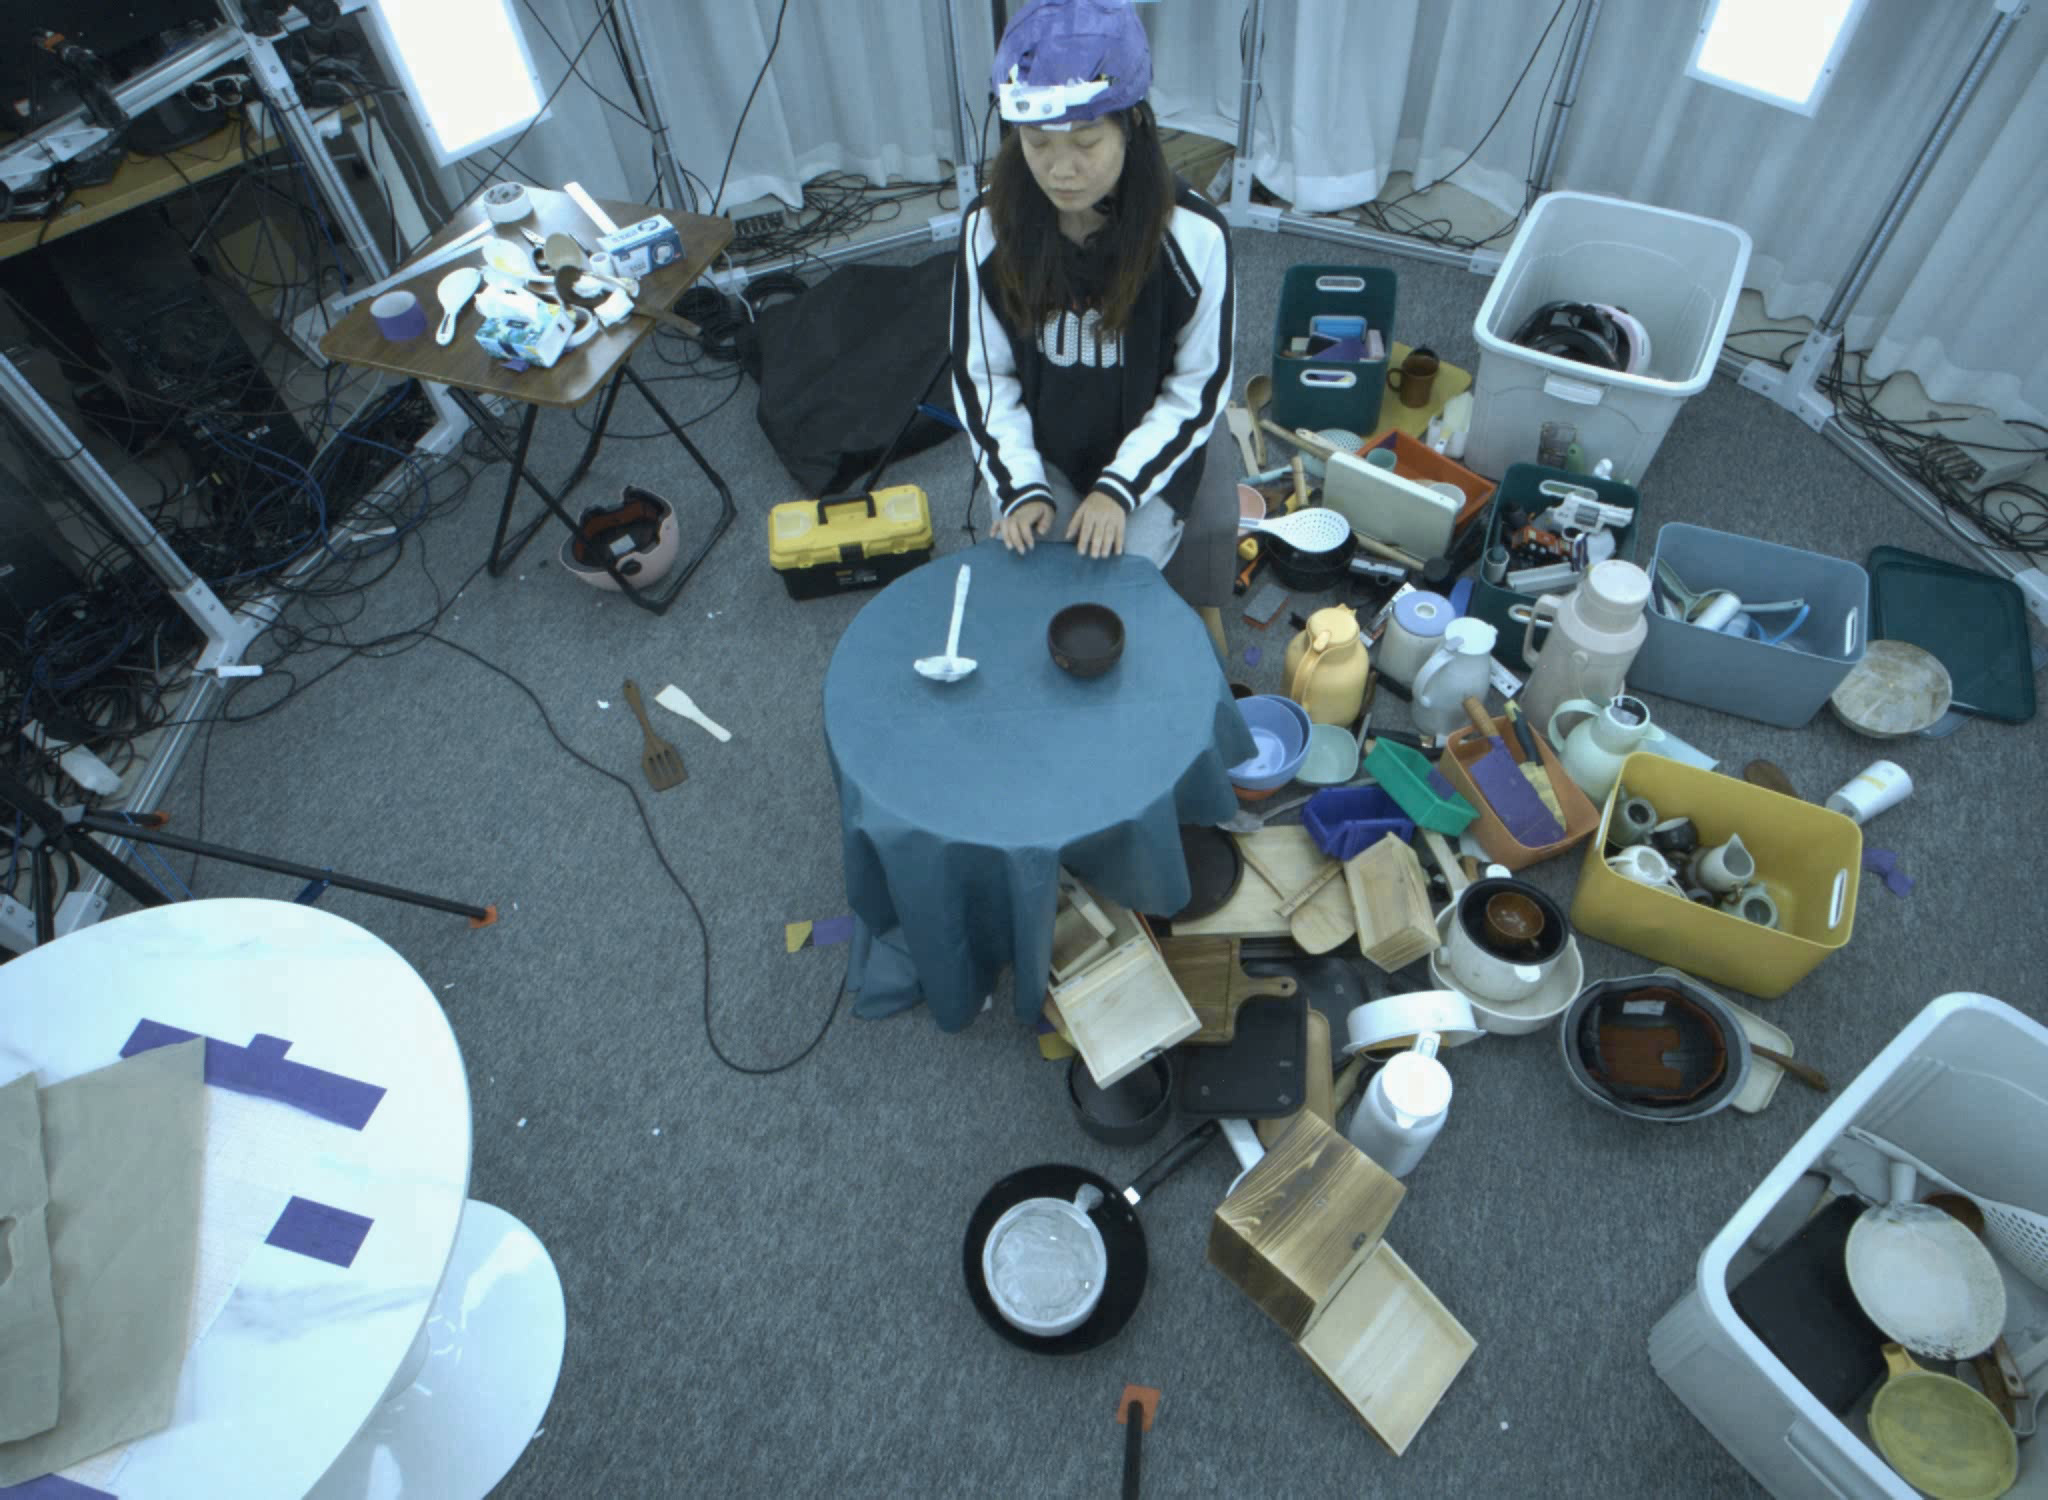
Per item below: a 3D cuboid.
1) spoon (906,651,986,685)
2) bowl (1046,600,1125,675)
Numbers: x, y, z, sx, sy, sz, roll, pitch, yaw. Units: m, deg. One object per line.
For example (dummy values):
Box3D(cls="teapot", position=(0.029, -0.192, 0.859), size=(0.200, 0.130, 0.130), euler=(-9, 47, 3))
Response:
Box3D(cls="spoon", position=(-0.143, -0.110, 1.939), size=(0.102, 0.274, 0.059), euler=(-2, 81, -23))
Box3D(cls="bowl", position=(0.093, -0.161, 1.853), size=(0.118, 0.070, 0.117), euler=(0, 55, 2))
